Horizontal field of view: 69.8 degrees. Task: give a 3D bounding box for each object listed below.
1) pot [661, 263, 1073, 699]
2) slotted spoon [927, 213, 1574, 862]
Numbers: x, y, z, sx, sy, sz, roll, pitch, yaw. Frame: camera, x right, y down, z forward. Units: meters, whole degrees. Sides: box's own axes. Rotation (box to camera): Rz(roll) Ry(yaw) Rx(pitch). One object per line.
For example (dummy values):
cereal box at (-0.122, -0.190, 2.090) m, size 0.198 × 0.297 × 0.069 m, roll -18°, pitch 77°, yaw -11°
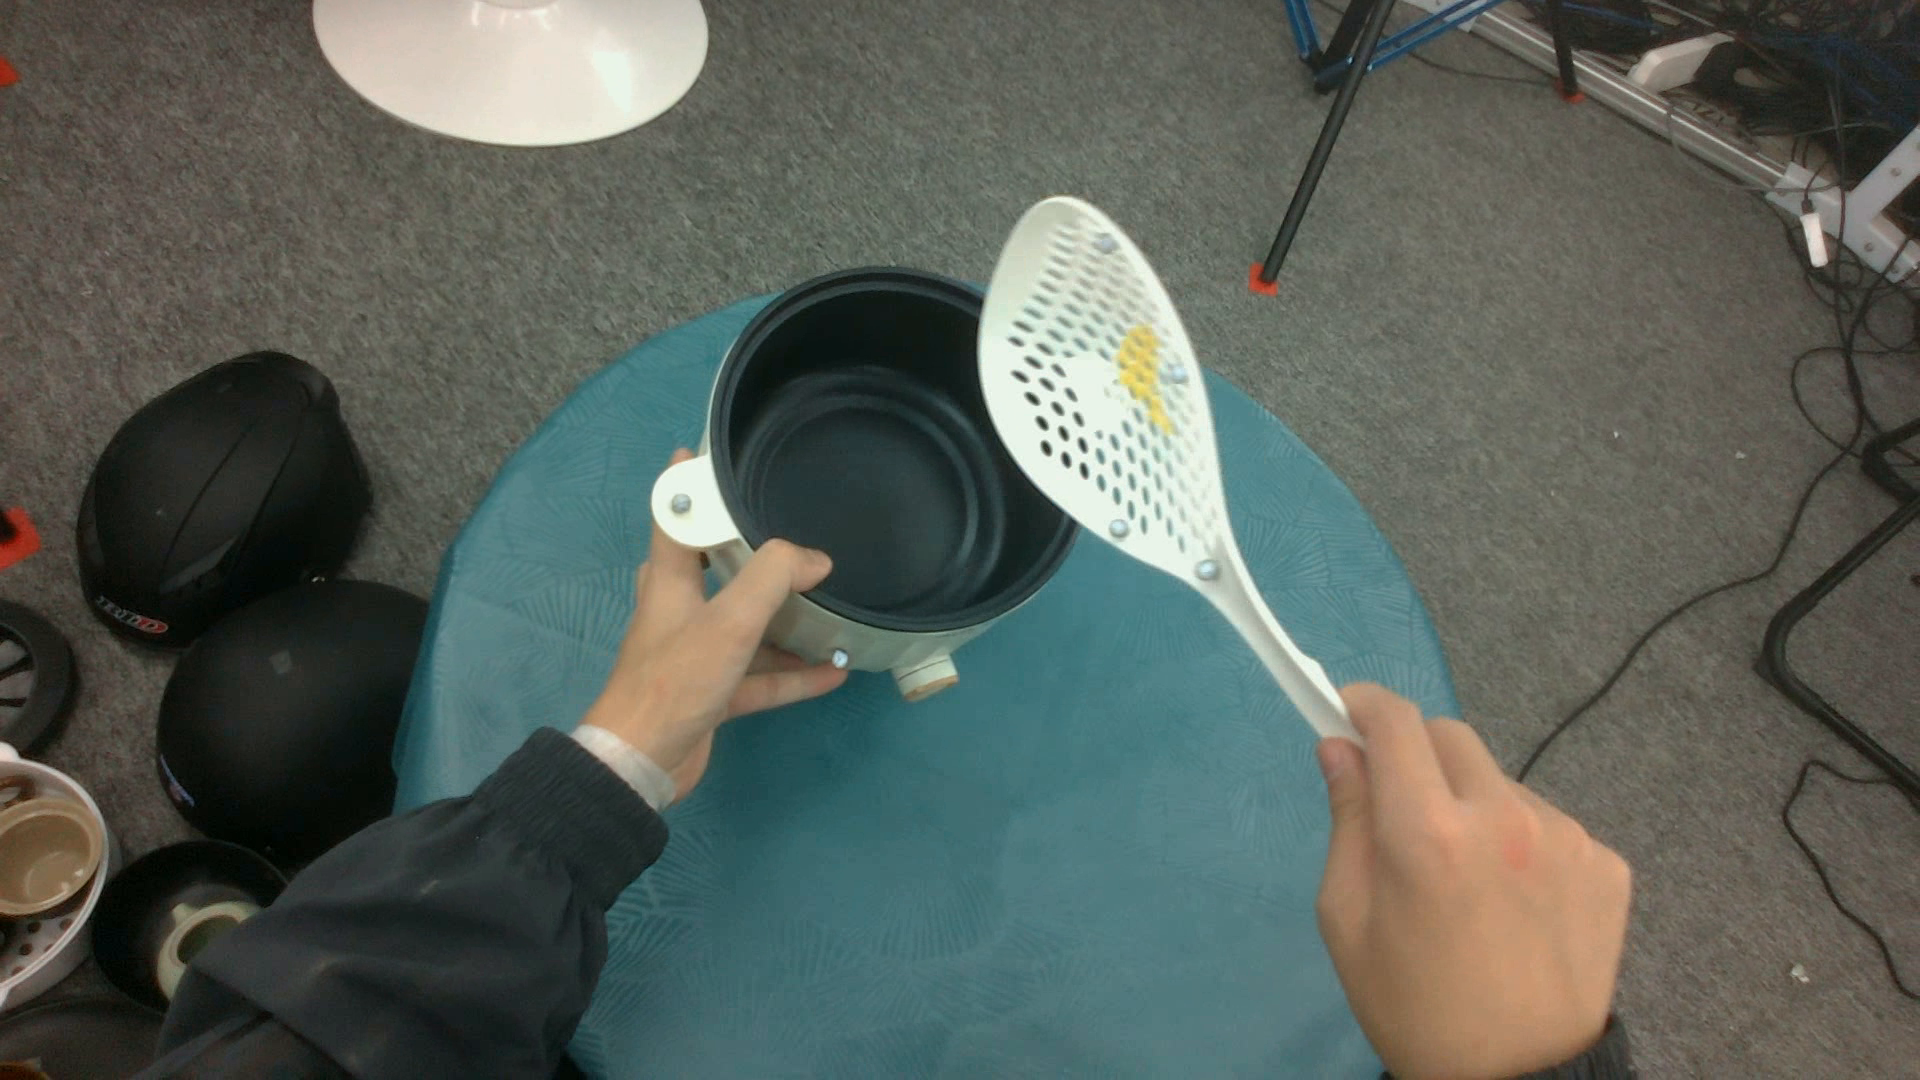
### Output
pot at (-0.036, -0.021, 0.697) m, size 0.241 × 0.142 × 0.191 m, roll -22°, pitch 75°, yaw -20°
slotted spoon at (0.097, -0.001, 0.551) m, size 0.050 × 0.136 × 0.348 m, roll -21°, pitch 58°, yaw -26°
